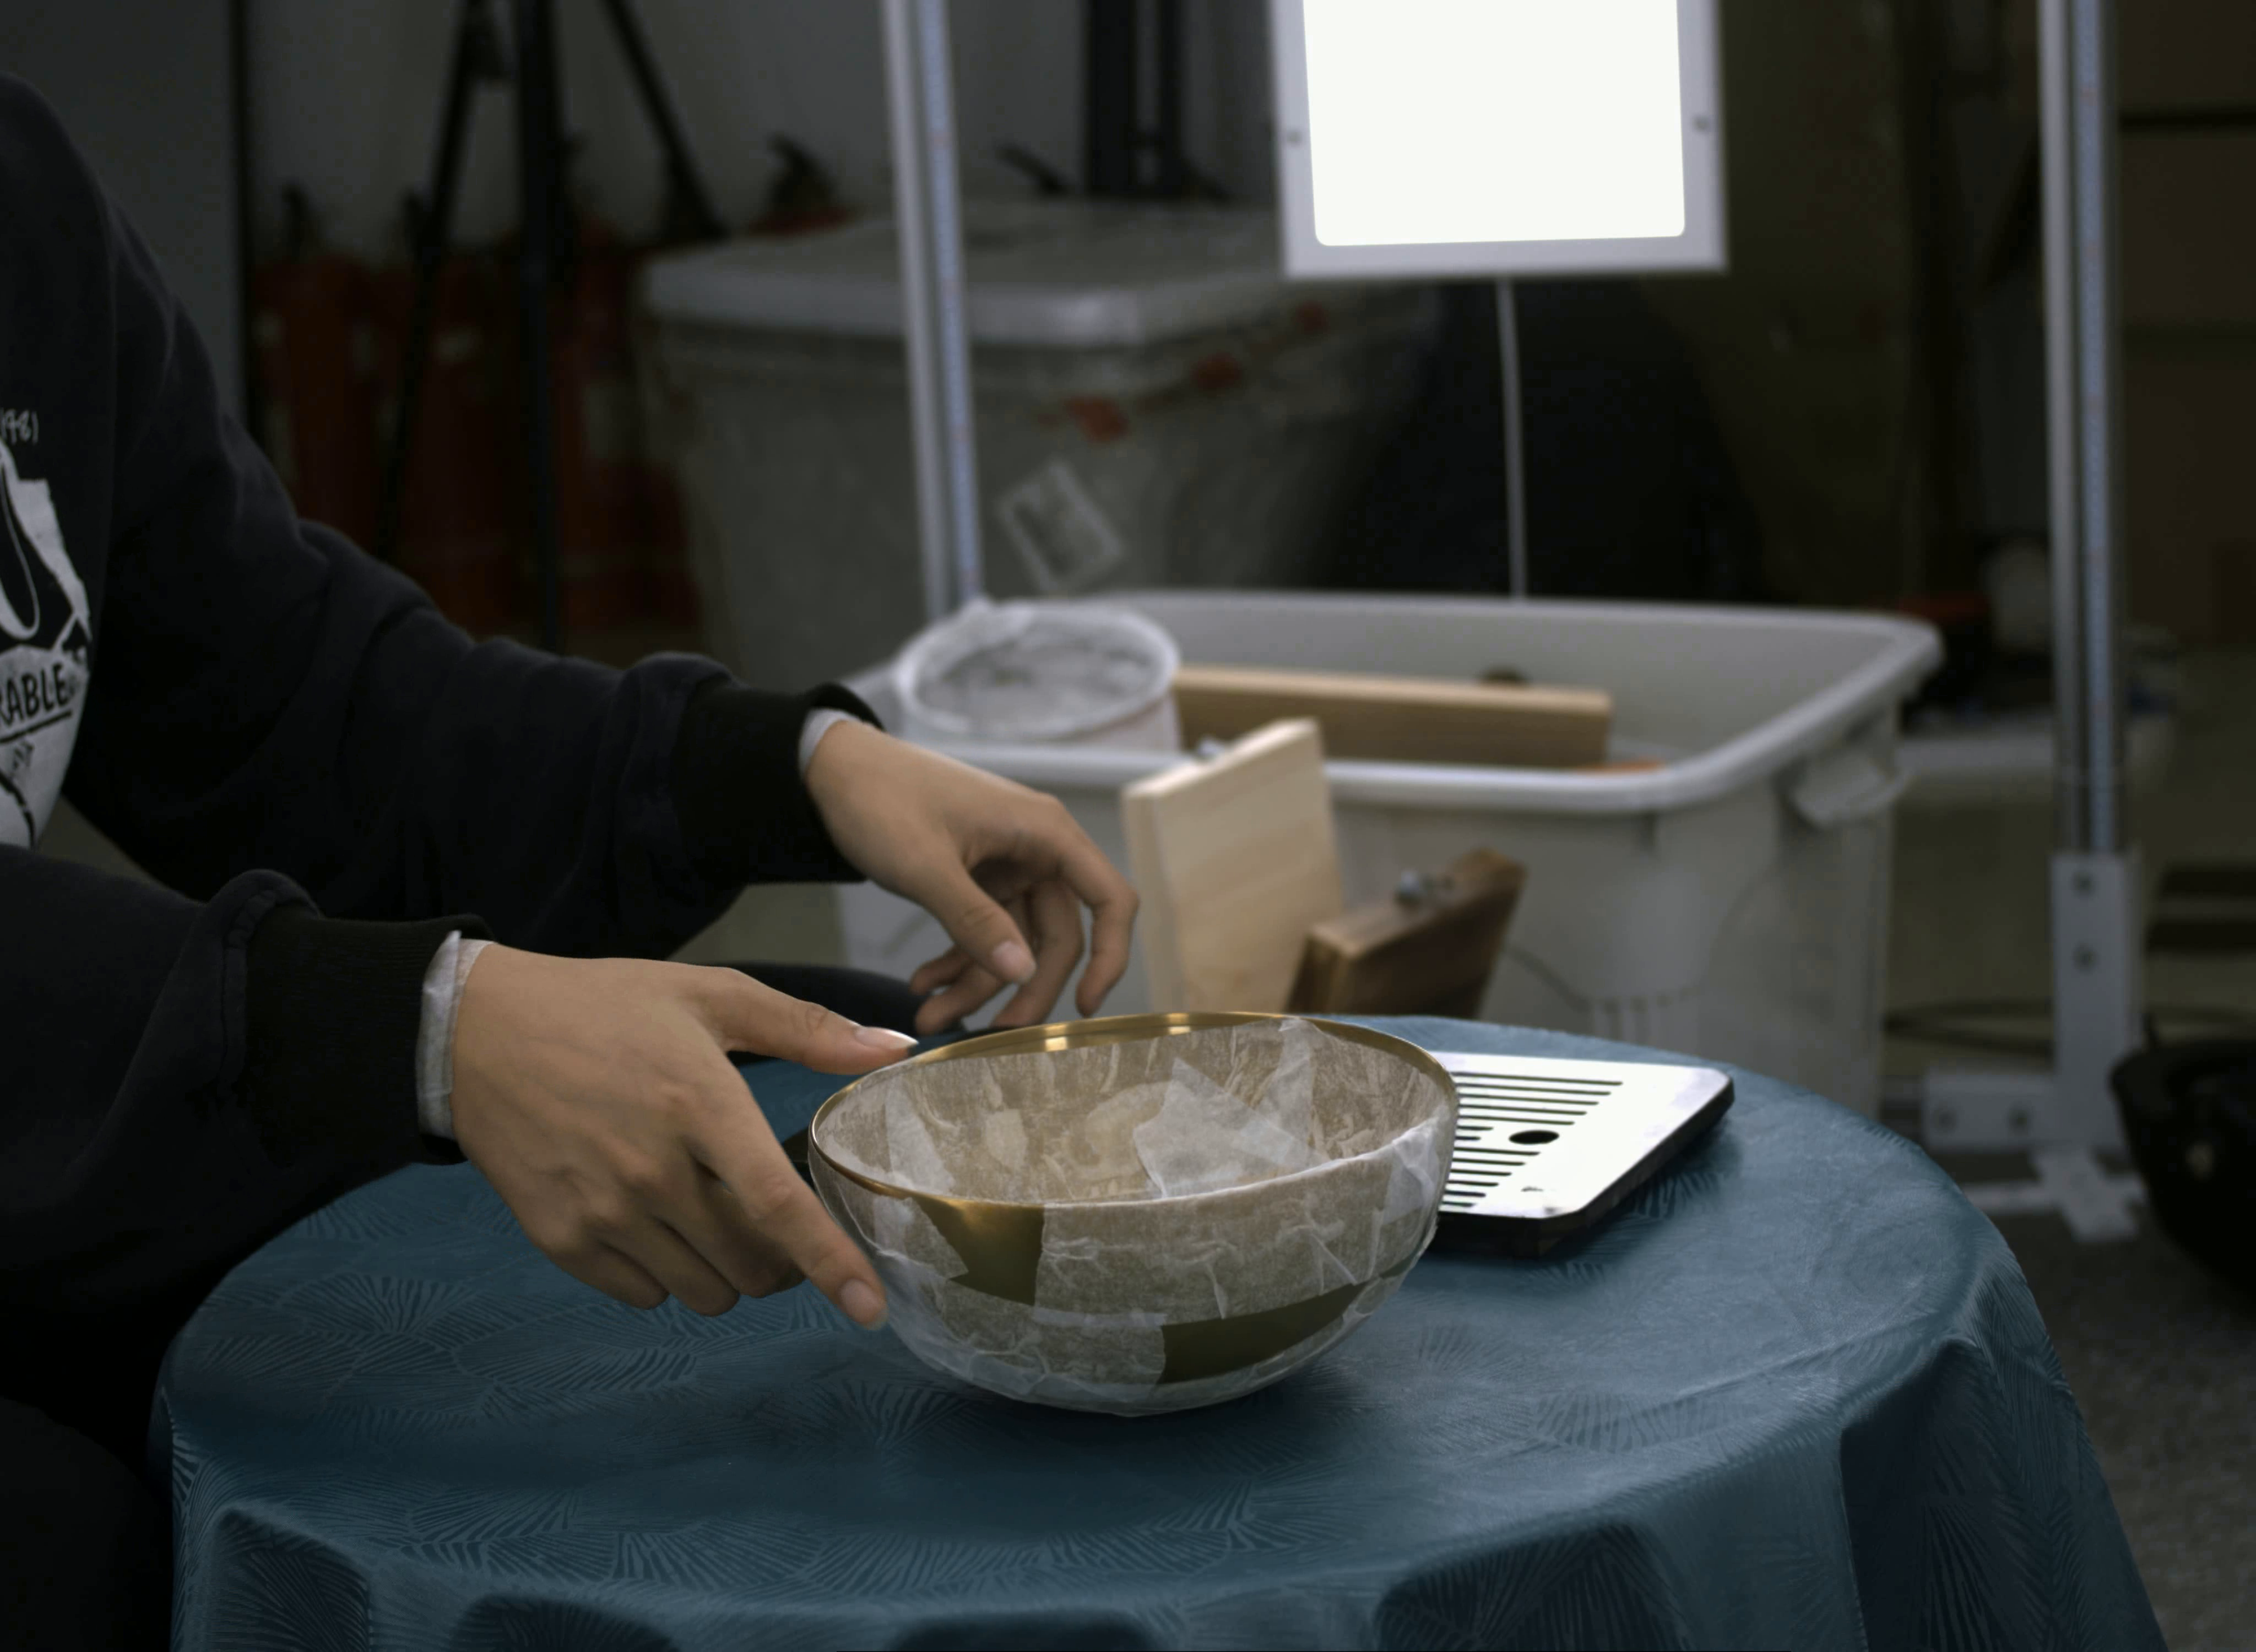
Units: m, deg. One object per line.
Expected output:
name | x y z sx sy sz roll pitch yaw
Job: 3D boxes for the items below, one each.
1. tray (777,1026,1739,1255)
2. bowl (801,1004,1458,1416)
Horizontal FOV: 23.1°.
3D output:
tray | 0.046 0.108 1.921 0.311 0.019 0.166 2 15 28
bowl | 0.004 0.126 1.705 0.214 0.095 0.214 -6 15 0
